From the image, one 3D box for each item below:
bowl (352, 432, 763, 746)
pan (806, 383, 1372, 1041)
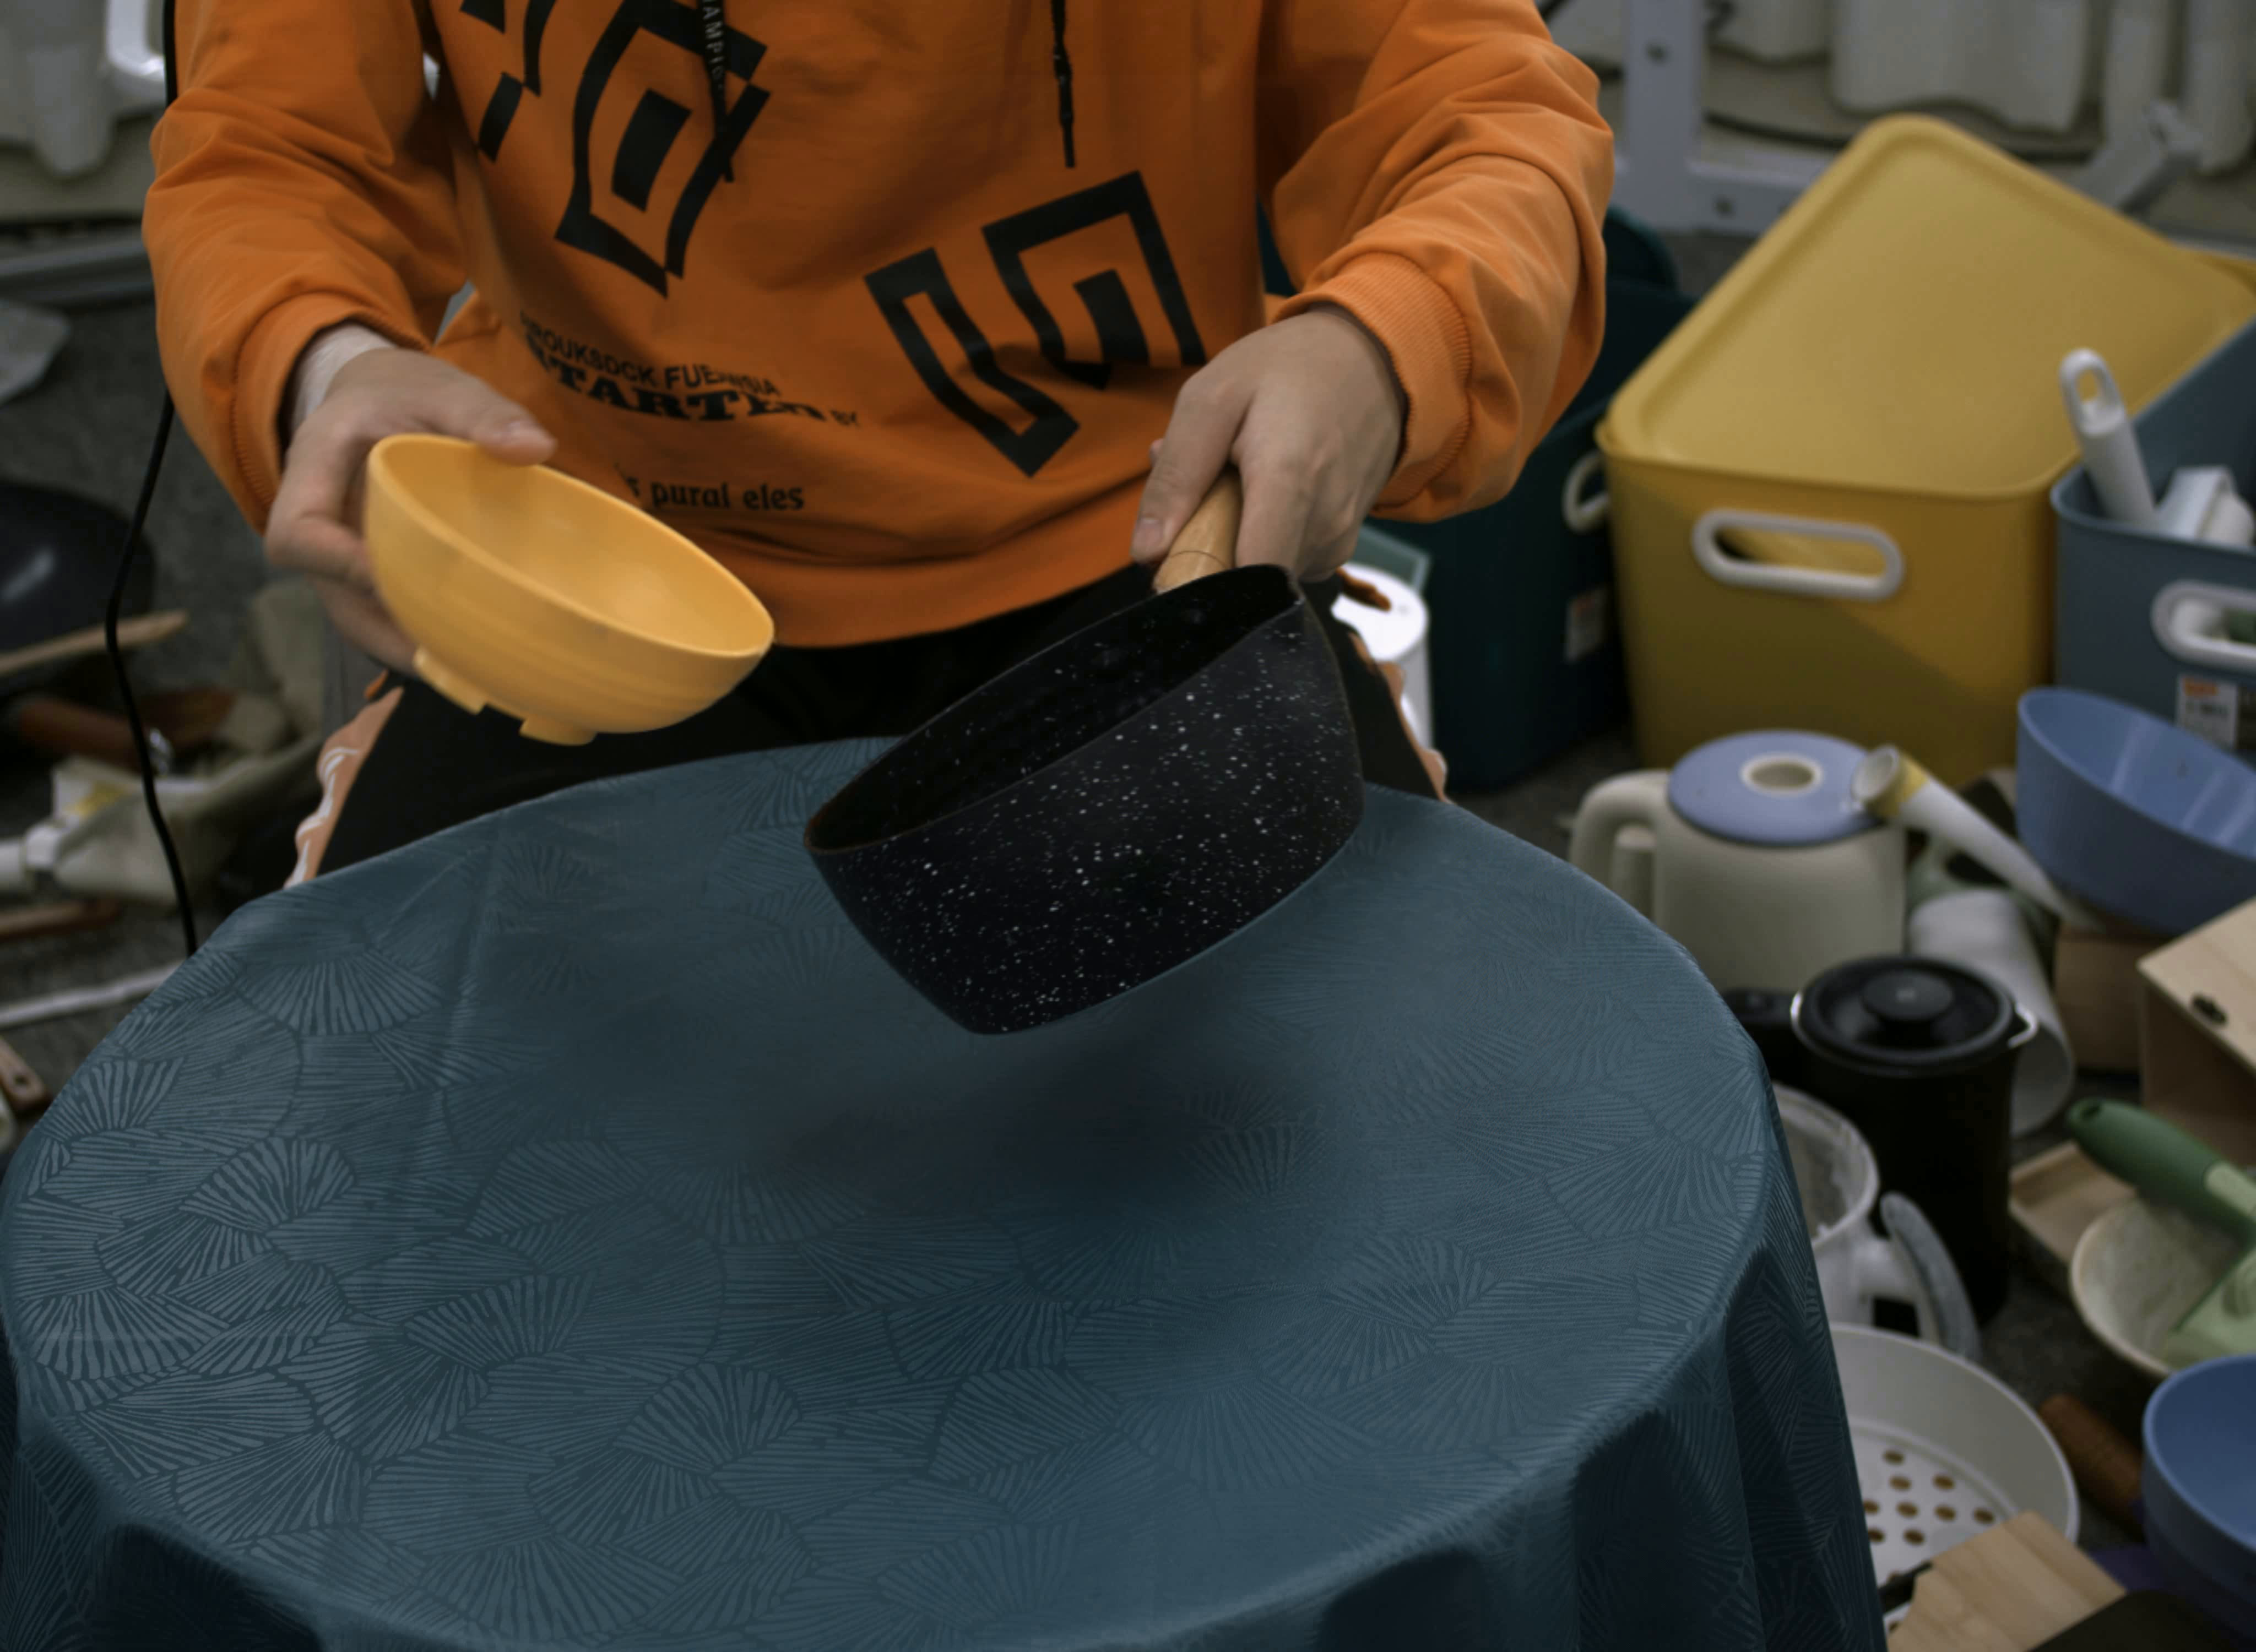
[{"bbox_3d":[-0.196,-0.068,1.841,0.145,0.060,0.147,25,15,-6],"label":"bowl"},{"bbox_3d":[0.014,-0.046,1.922,0.205,0.108,0.348,-24,14,27],"label":"pan"}]
